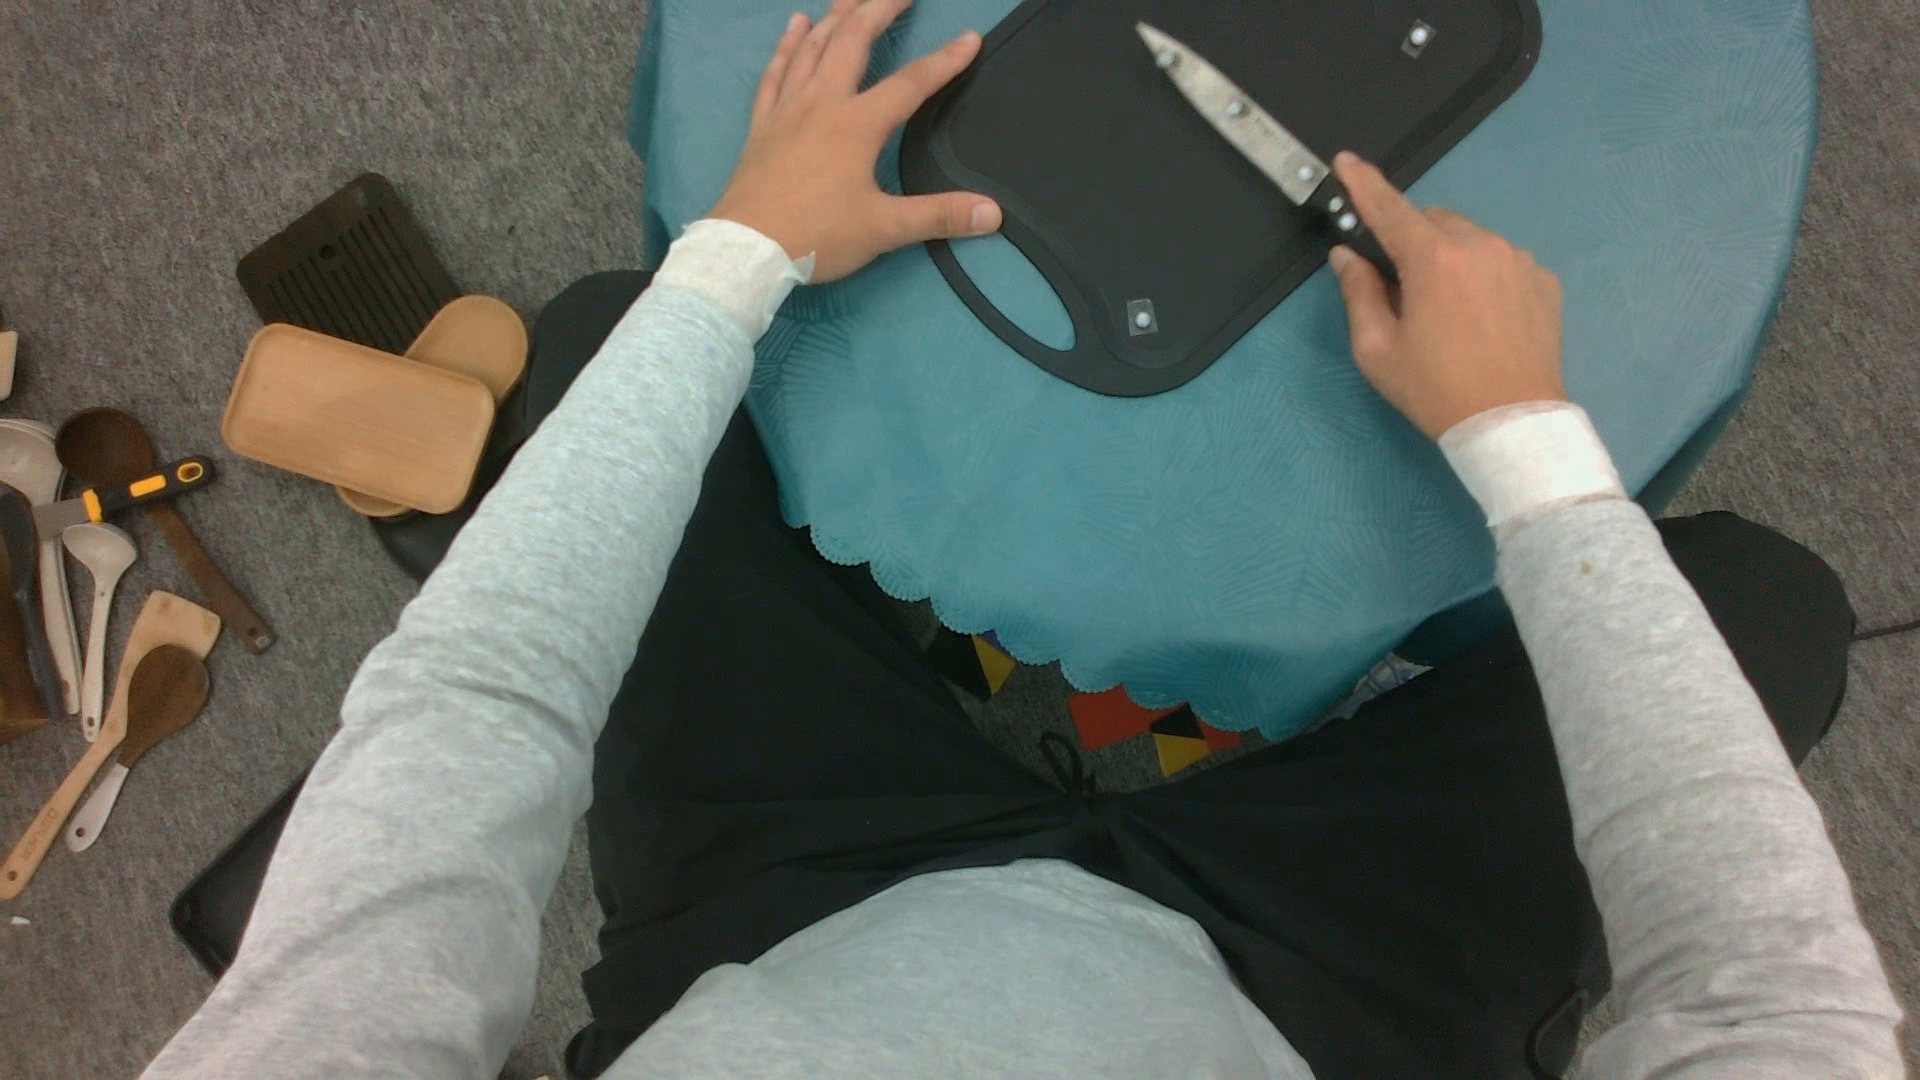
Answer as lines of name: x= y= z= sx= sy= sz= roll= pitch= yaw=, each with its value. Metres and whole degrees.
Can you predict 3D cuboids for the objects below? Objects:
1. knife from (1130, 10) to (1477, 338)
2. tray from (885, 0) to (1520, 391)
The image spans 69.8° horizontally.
knife: x=0.169 y=-0.189 z=0.685 sx=0.238 sy=0.016 sz=0.024 roll=47 pitch=118 yaw=11
tray: x=0.120 y=-0.230 z=0.719 sx=0.325 sy=0.010 sz=0.211 roll=-42 pitch=83 yaw=-2
